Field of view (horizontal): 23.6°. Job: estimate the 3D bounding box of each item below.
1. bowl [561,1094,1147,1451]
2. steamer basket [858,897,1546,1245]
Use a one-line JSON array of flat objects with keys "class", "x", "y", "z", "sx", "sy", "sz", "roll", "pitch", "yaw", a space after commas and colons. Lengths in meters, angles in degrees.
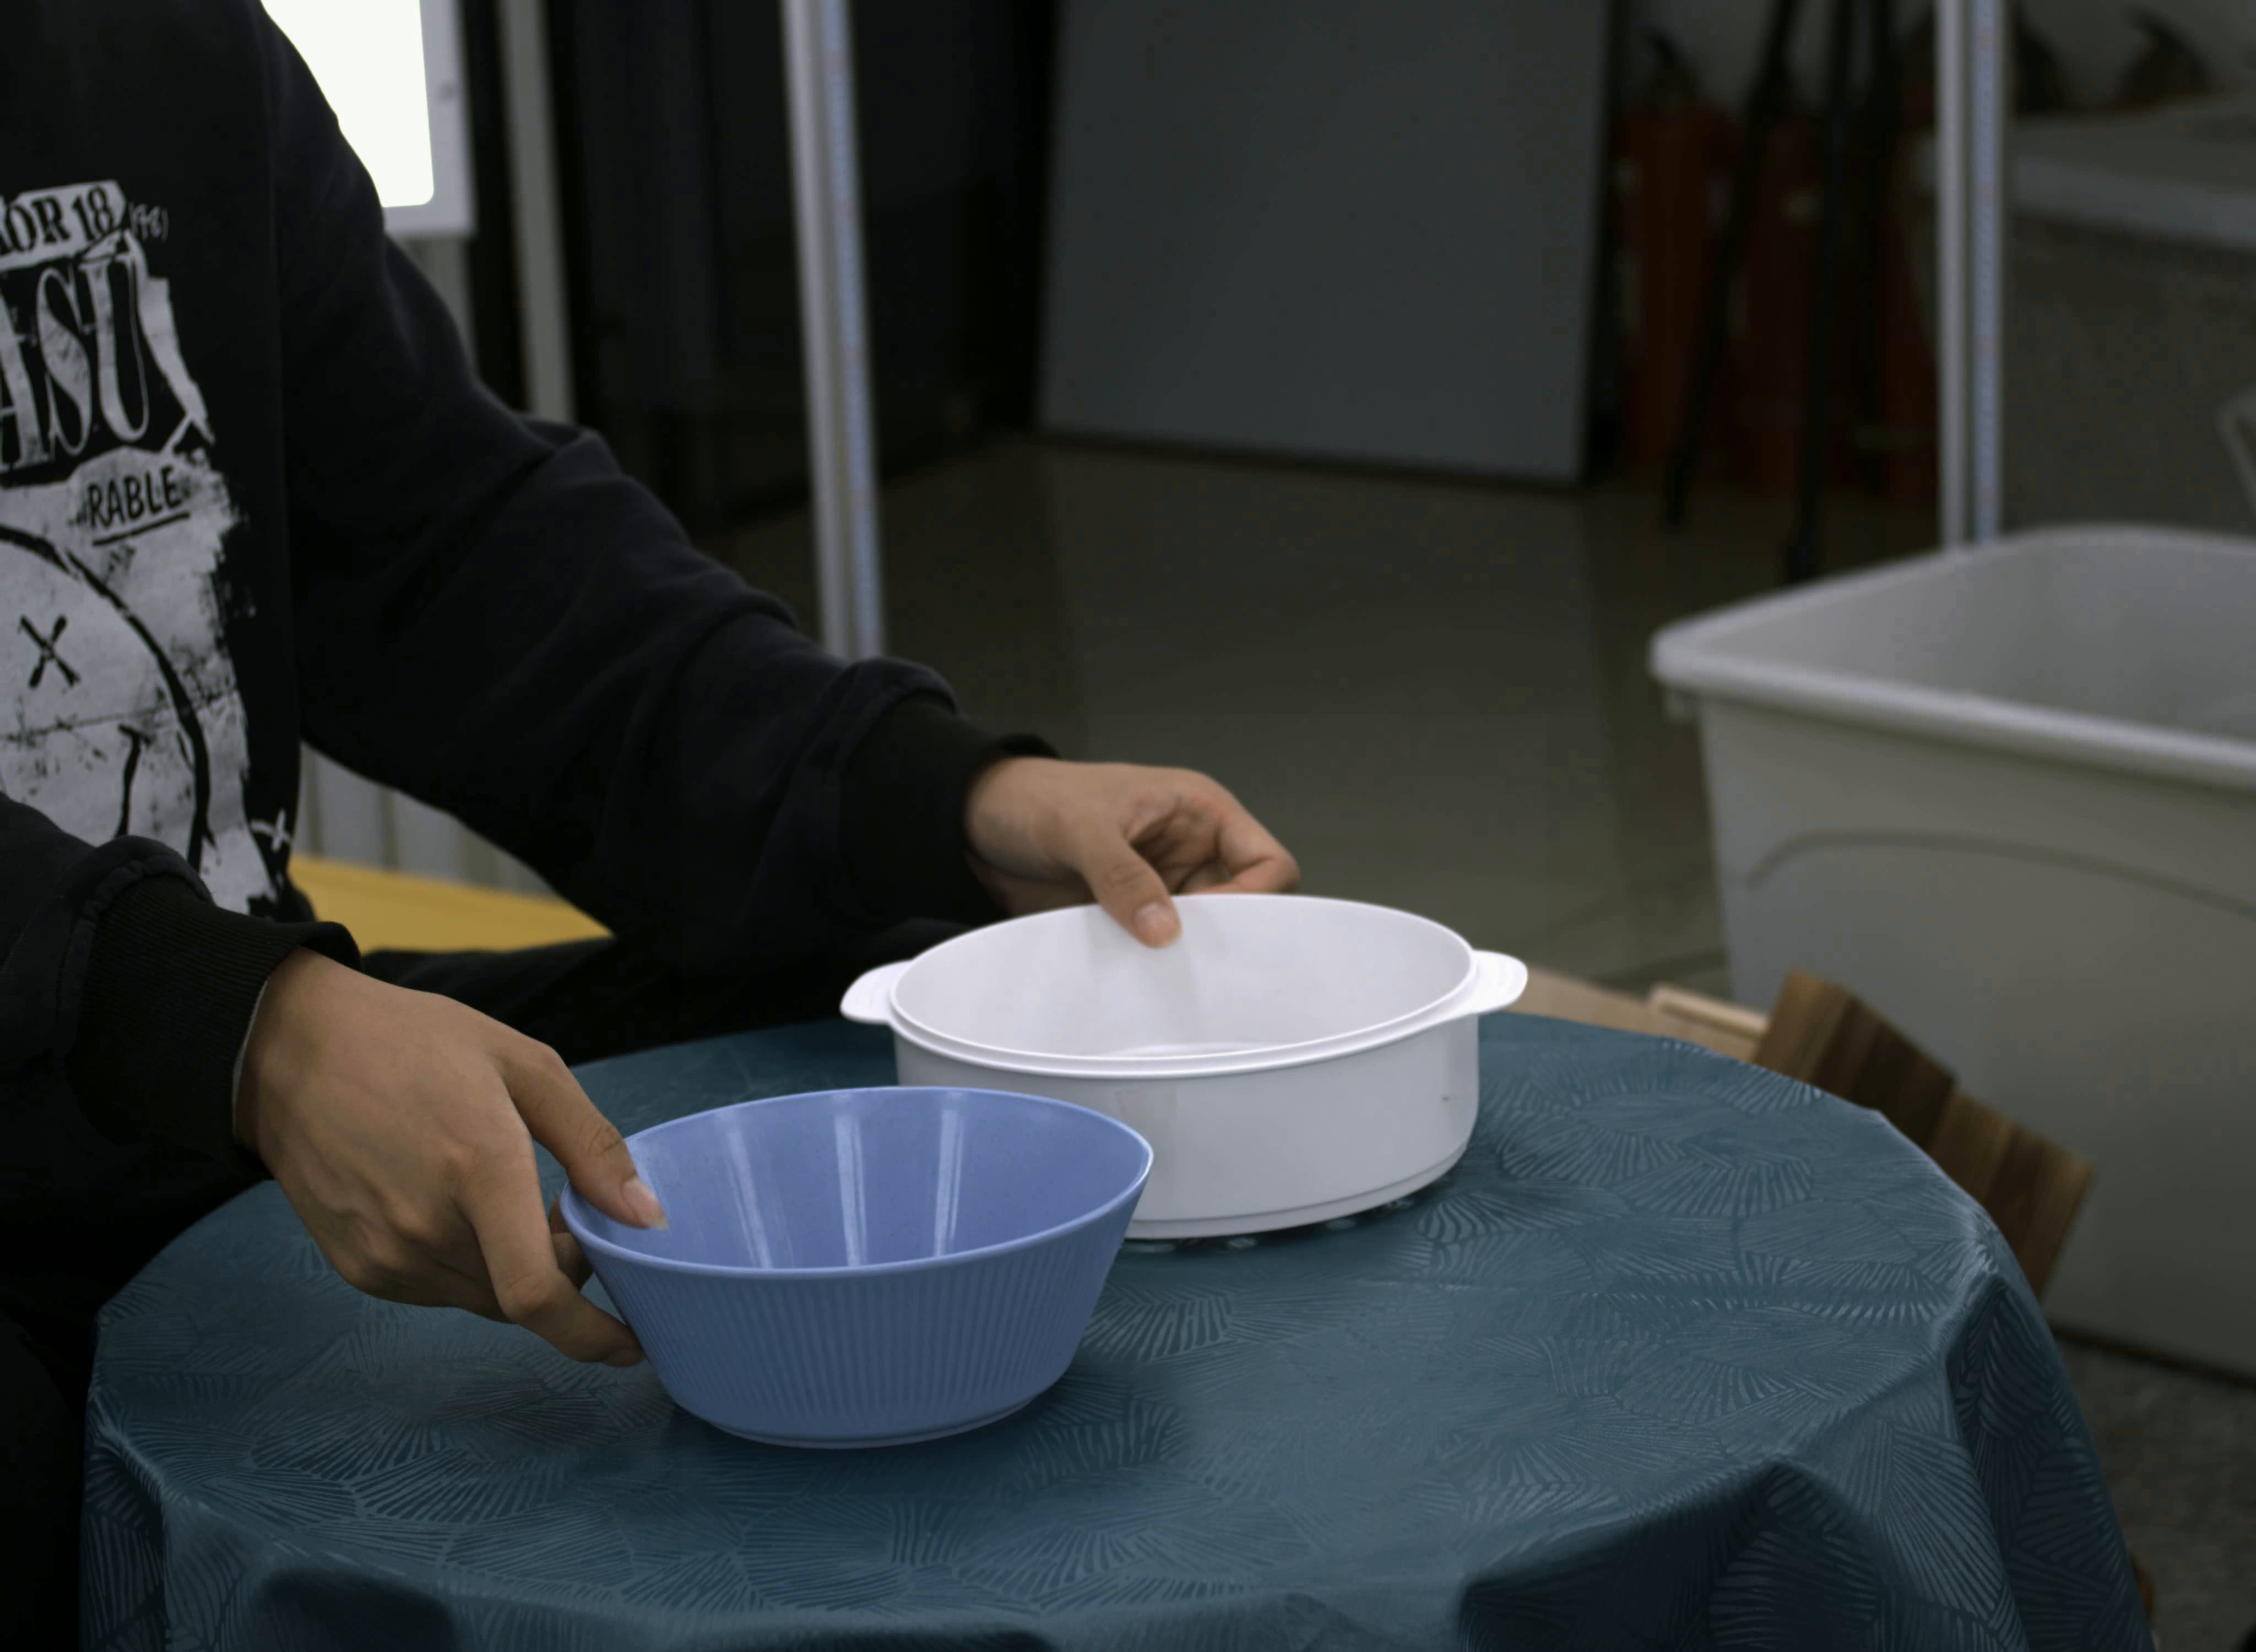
[{"class": "bowl", "x": -0.078, "y": 0.134, "z": 1.595, "sx": 0.174, "sy": 0.071, "sz": 0.176, "roll": -4, "pitch": 13, "yaw": 0}, {"class": "steamer basket", "x": 0.025, "y": 0.080, "z": 1.787, "sx": 0.229, "sy": 0.070, "sz": 0.201, "roll": 0, "pitch": 14, "yaw": 9}]
